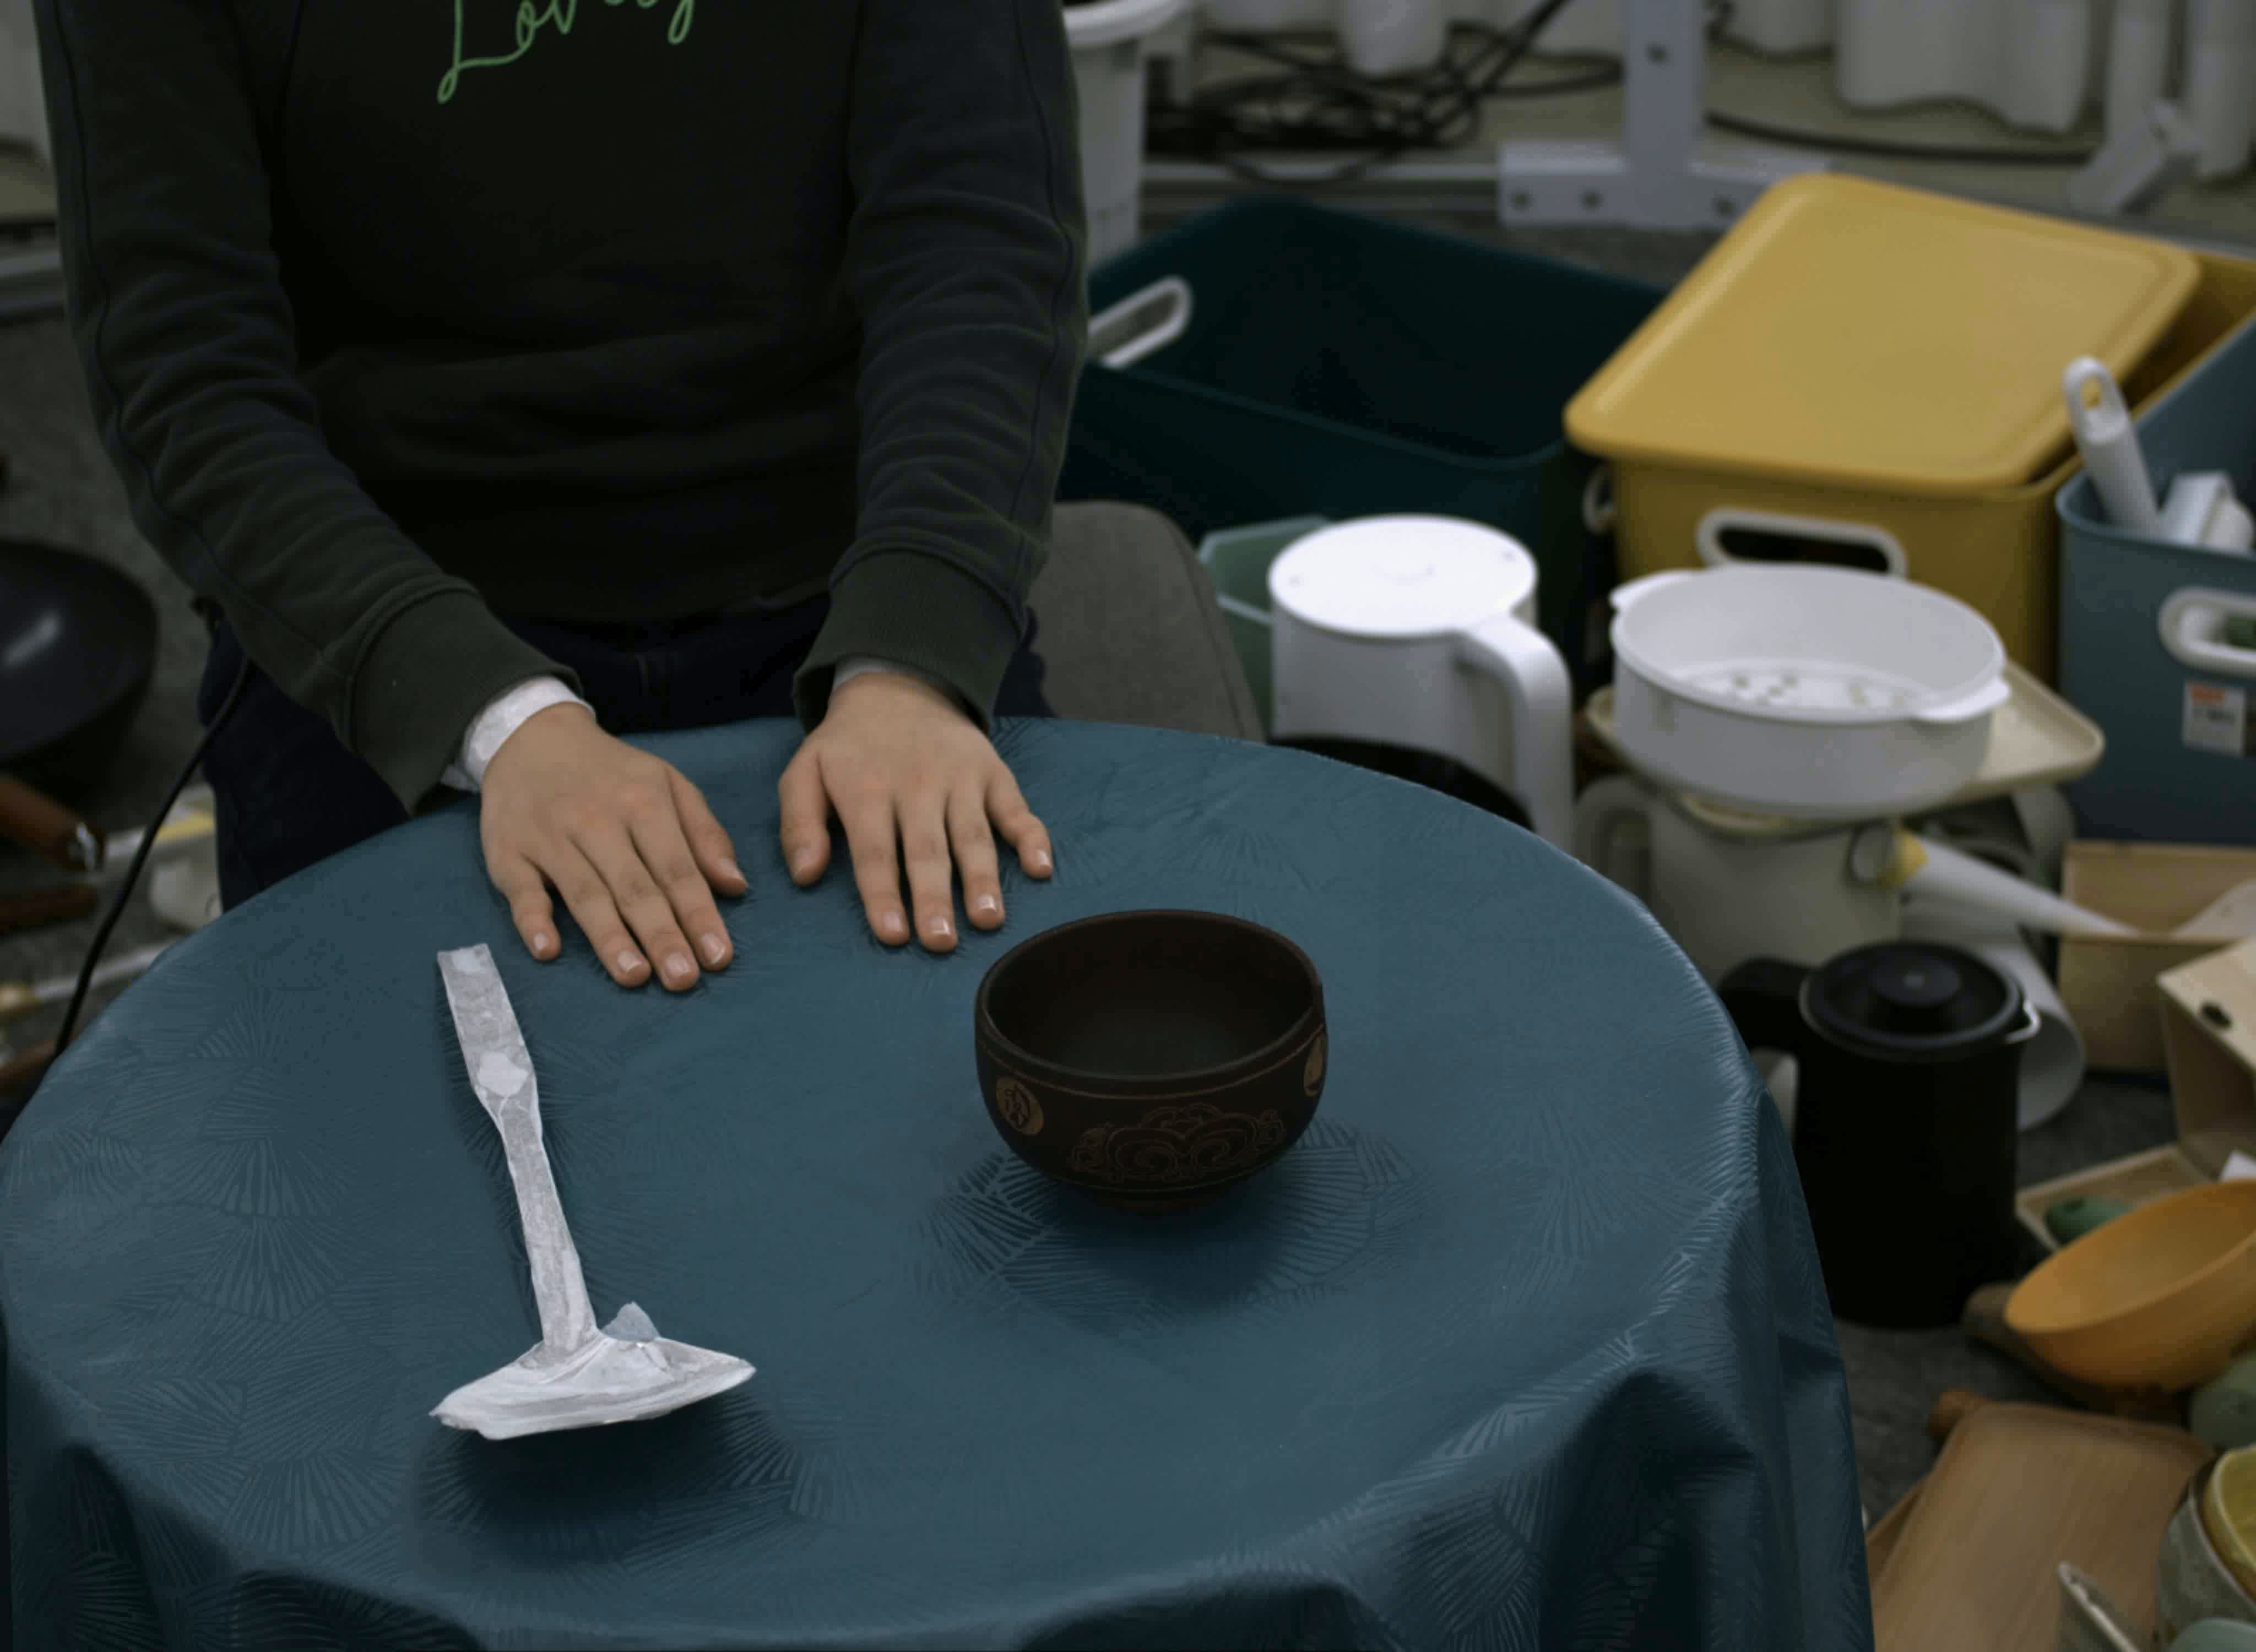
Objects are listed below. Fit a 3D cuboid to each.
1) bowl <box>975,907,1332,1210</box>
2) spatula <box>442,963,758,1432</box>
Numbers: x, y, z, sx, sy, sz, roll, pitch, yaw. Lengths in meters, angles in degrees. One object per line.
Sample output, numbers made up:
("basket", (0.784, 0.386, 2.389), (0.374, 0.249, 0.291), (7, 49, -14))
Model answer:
("bowl", (0.009, 0.083, 1.857), (0.117, 0.069, 0.120), (-1, 26, 1))
("spatula", (-0.192, 0.115, 1.852), (0.098, 0.044, 0.369), (-10, 28, -9))
